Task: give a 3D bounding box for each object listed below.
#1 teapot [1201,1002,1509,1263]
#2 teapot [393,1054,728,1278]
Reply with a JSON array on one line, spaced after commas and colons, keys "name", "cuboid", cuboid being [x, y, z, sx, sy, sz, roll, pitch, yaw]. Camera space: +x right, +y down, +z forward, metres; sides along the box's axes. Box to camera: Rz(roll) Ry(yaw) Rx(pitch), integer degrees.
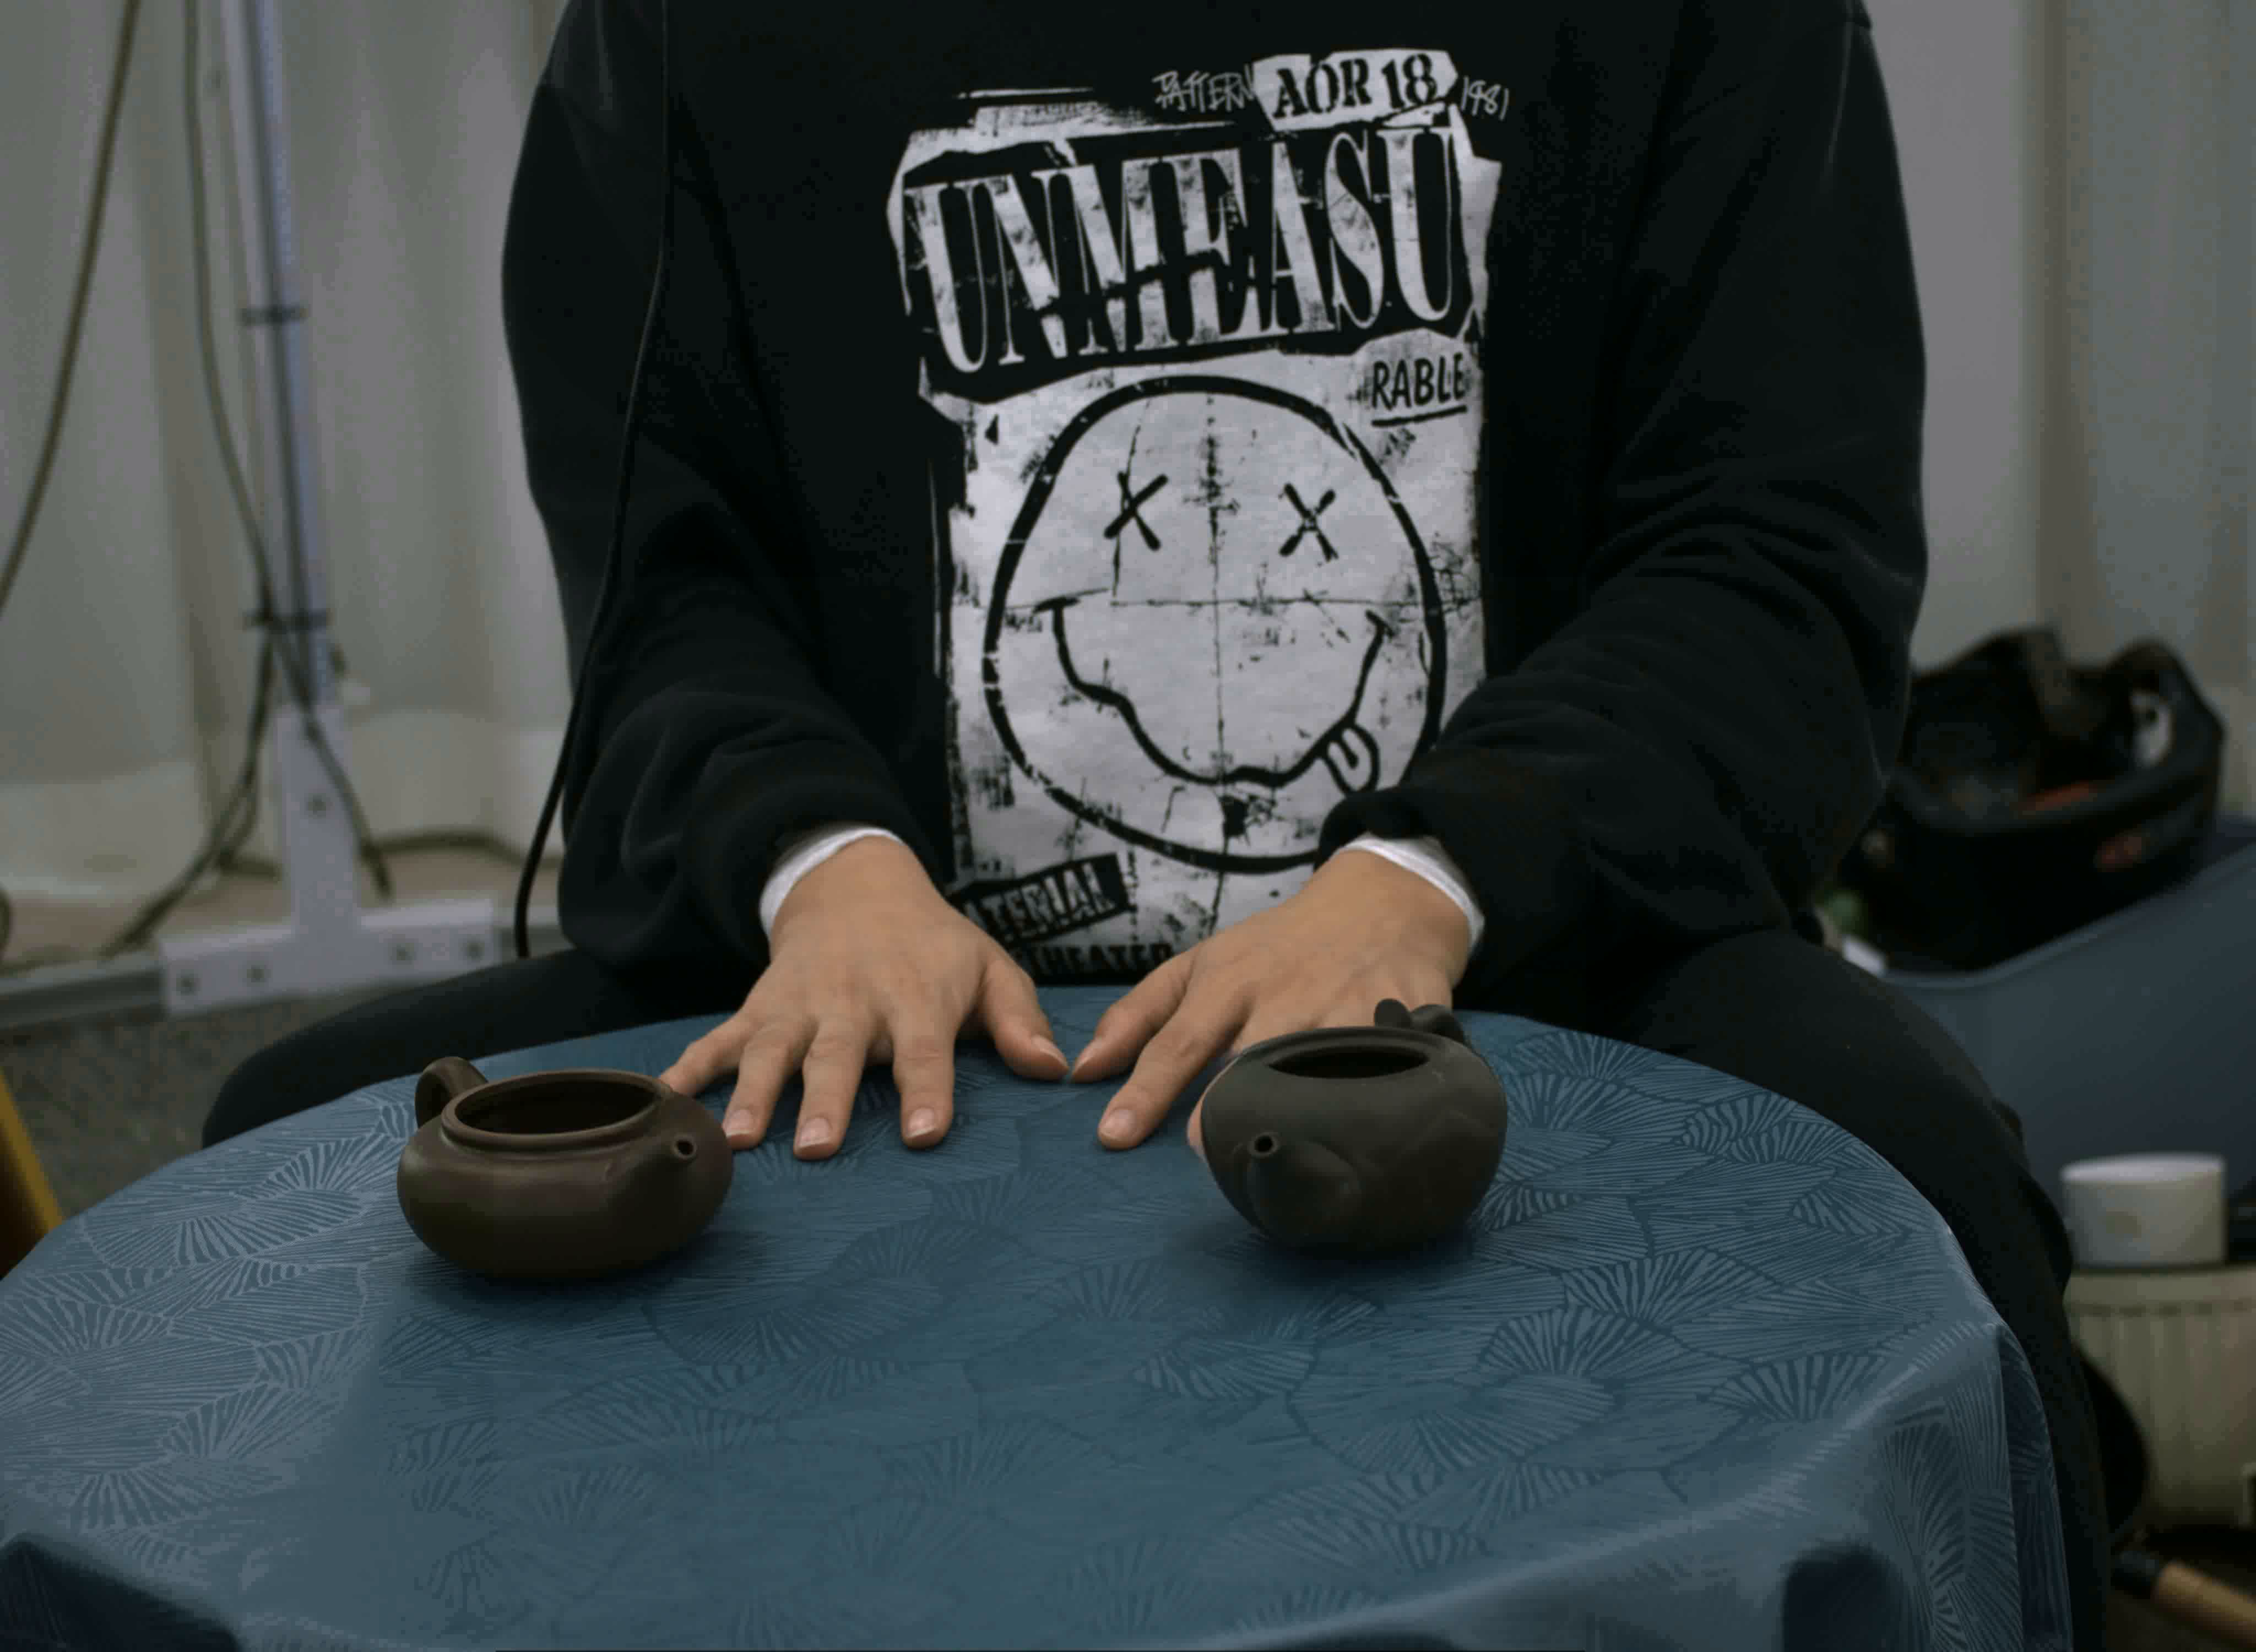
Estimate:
[{"name": "teapot", "cuboid": [0.070, 0.093, 1.658, 0.092, 0.064, 0.154, 6, 17, 24]}, {"name": "teapot", "cuboid": [-0.177, 0.104, 1.682, 0.102, 0.053, 0.154, -12, 18, -42]}]
